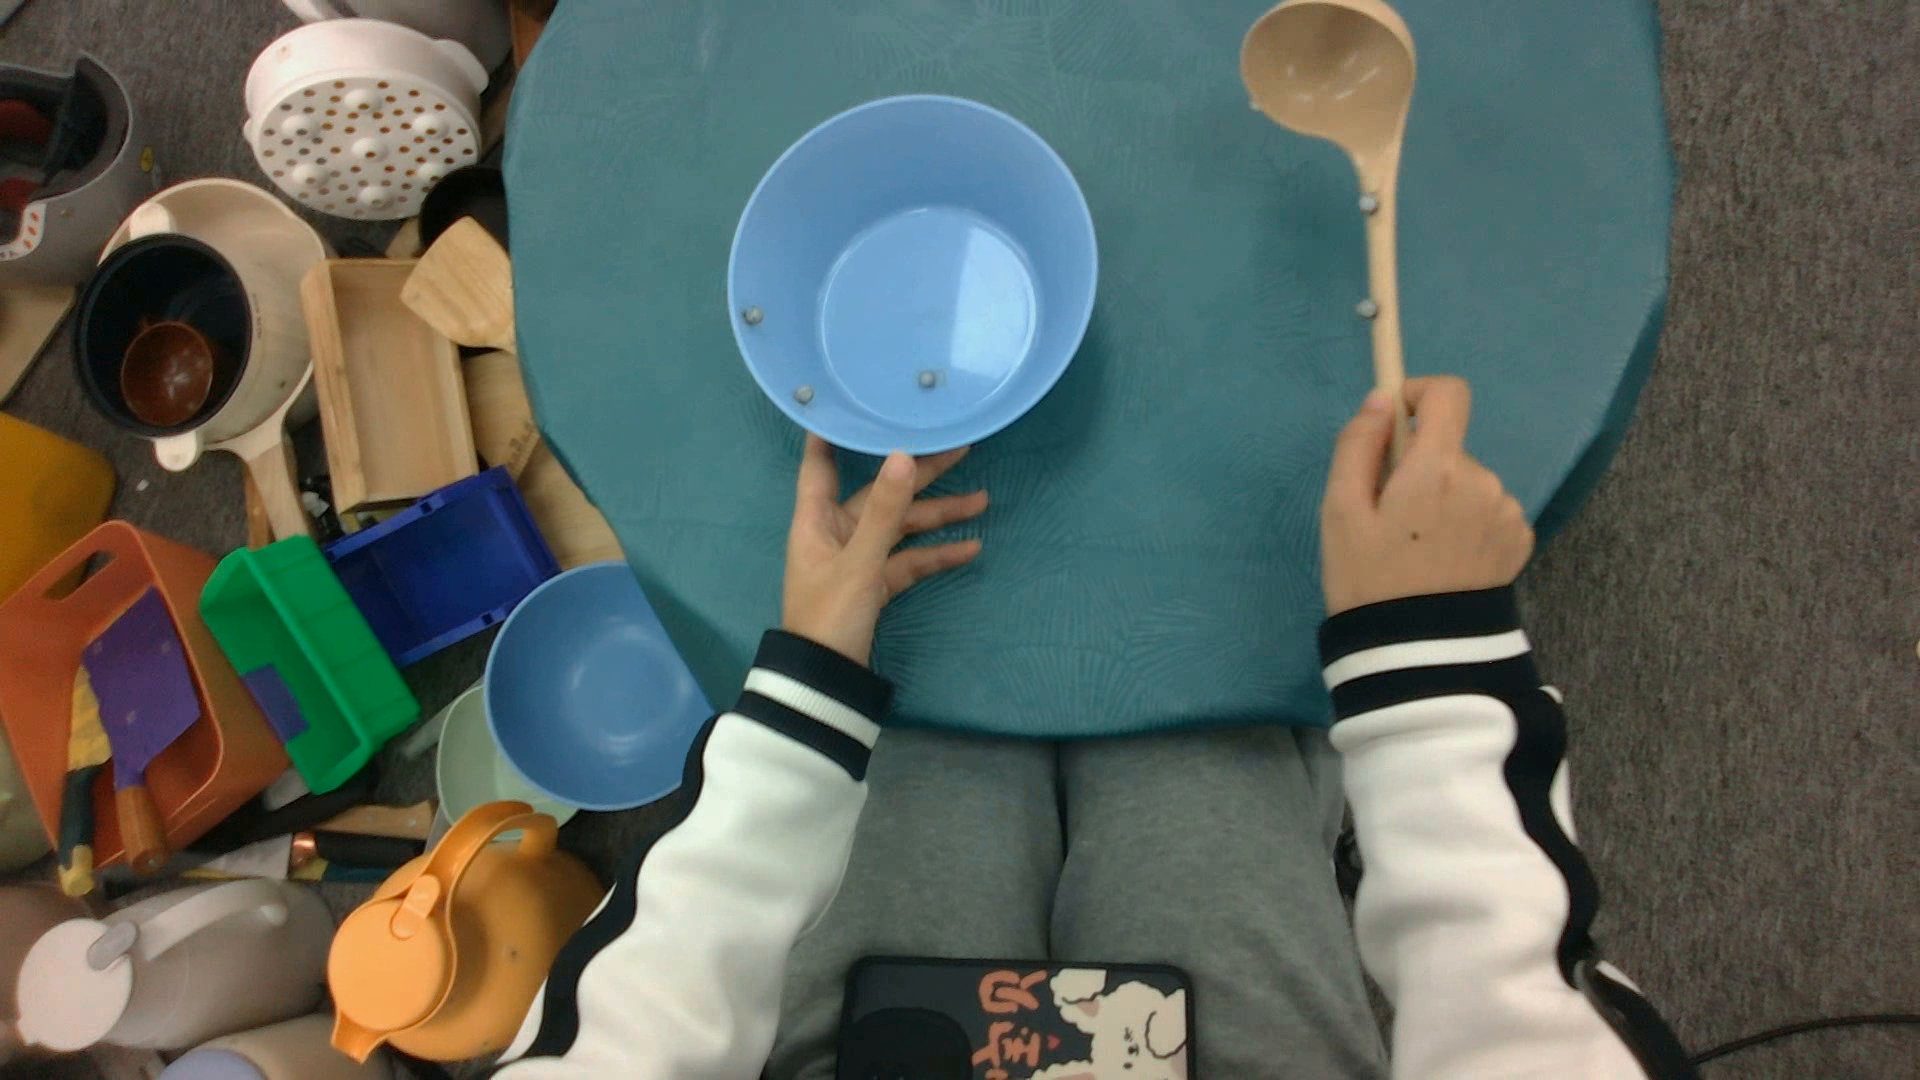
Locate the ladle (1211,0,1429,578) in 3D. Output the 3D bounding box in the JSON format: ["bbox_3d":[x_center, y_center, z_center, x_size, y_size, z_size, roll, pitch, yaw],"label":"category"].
[{"bbox_3d":[0.156,-0.111,0.584,0.072,0.073,0.255,-17,72,39],"label":"ladle"}]

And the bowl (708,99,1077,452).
[{"bbox_3d":[-0.029,-0.121,0.677,0.176,0.070,0.176,-1,78,7],"label":"bowl"}]
